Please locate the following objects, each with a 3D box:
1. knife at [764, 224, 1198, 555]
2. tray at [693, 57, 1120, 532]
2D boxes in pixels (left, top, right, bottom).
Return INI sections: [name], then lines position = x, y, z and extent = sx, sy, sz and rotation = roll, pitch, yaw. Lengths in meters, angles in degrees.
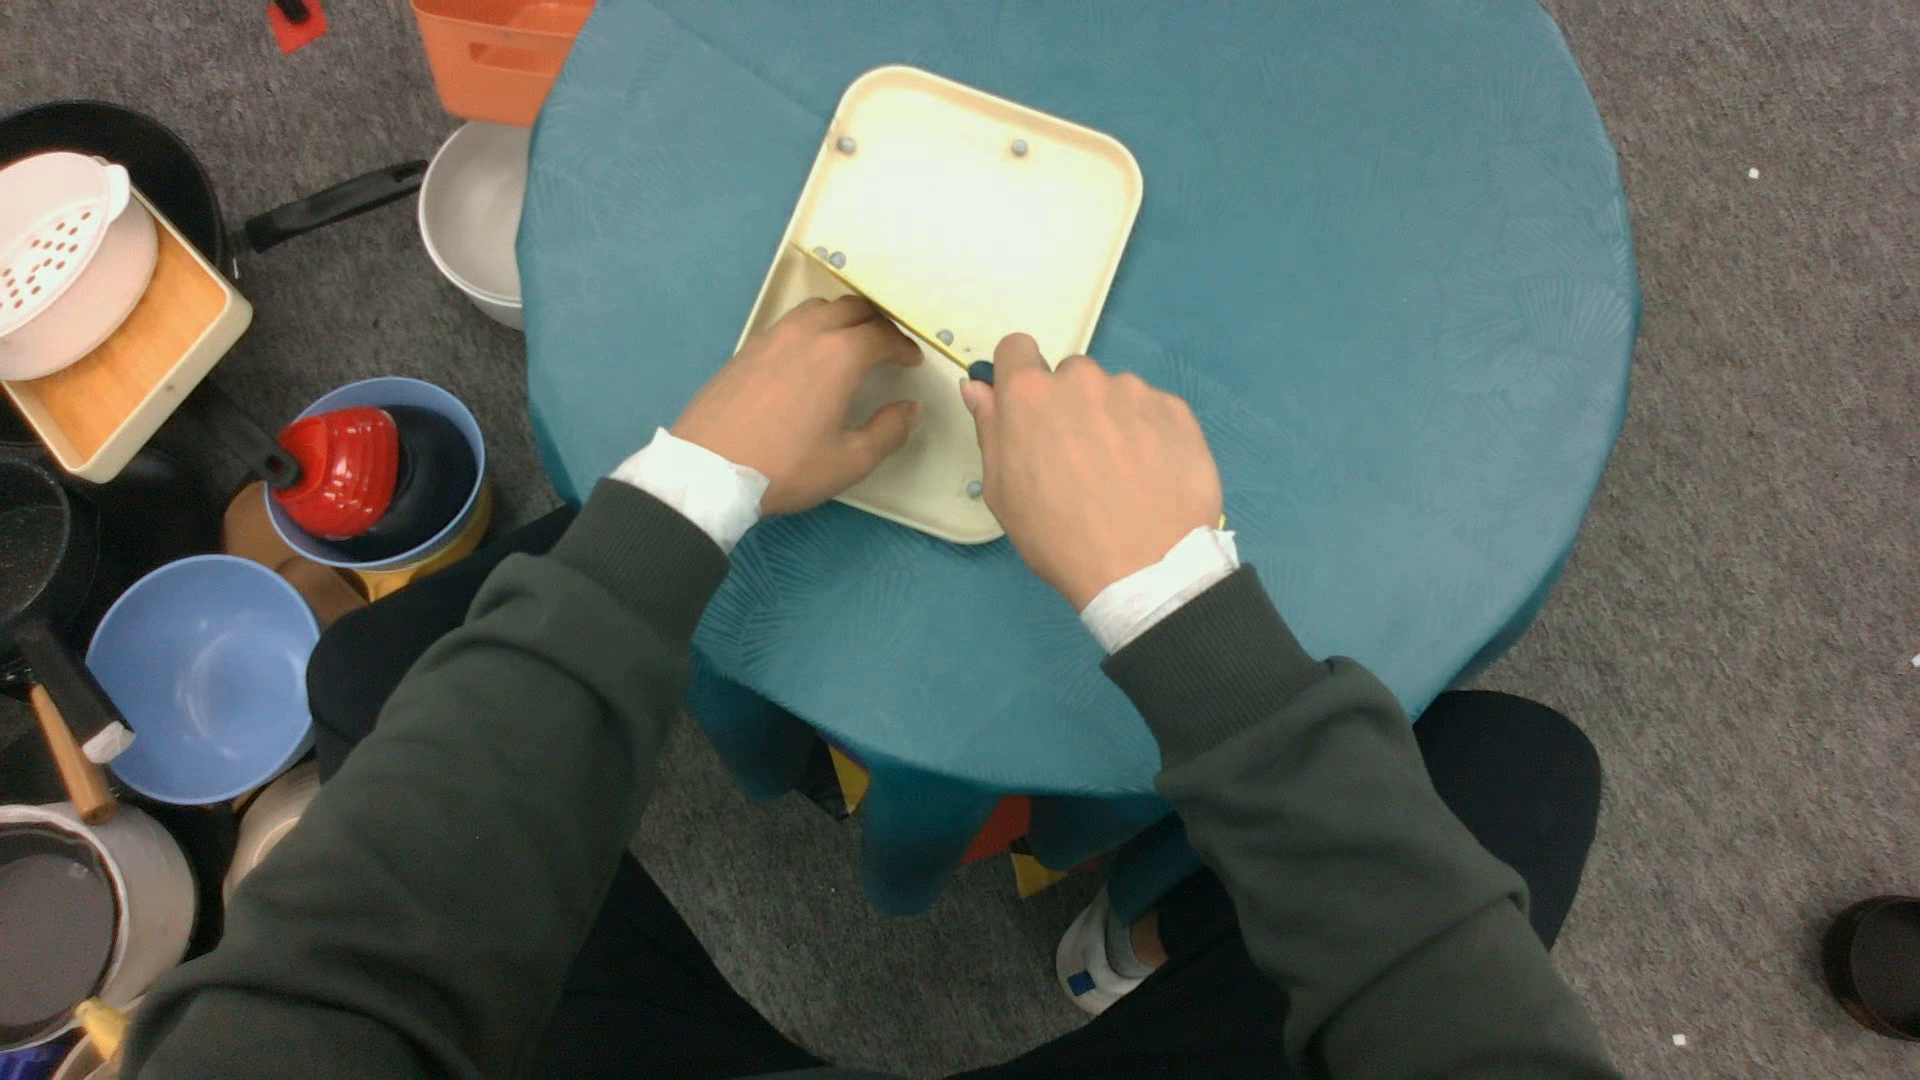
[knife]
position = 0.001, -0.079, 0.641
extent = 0.290, 0.081, 0.027
rotation = 40, 99, 29
[tray]
position = -0.025, -0.131, 0.721
extent = 0.171, 0.017, 0.240
rotation = 20, 76, 2
